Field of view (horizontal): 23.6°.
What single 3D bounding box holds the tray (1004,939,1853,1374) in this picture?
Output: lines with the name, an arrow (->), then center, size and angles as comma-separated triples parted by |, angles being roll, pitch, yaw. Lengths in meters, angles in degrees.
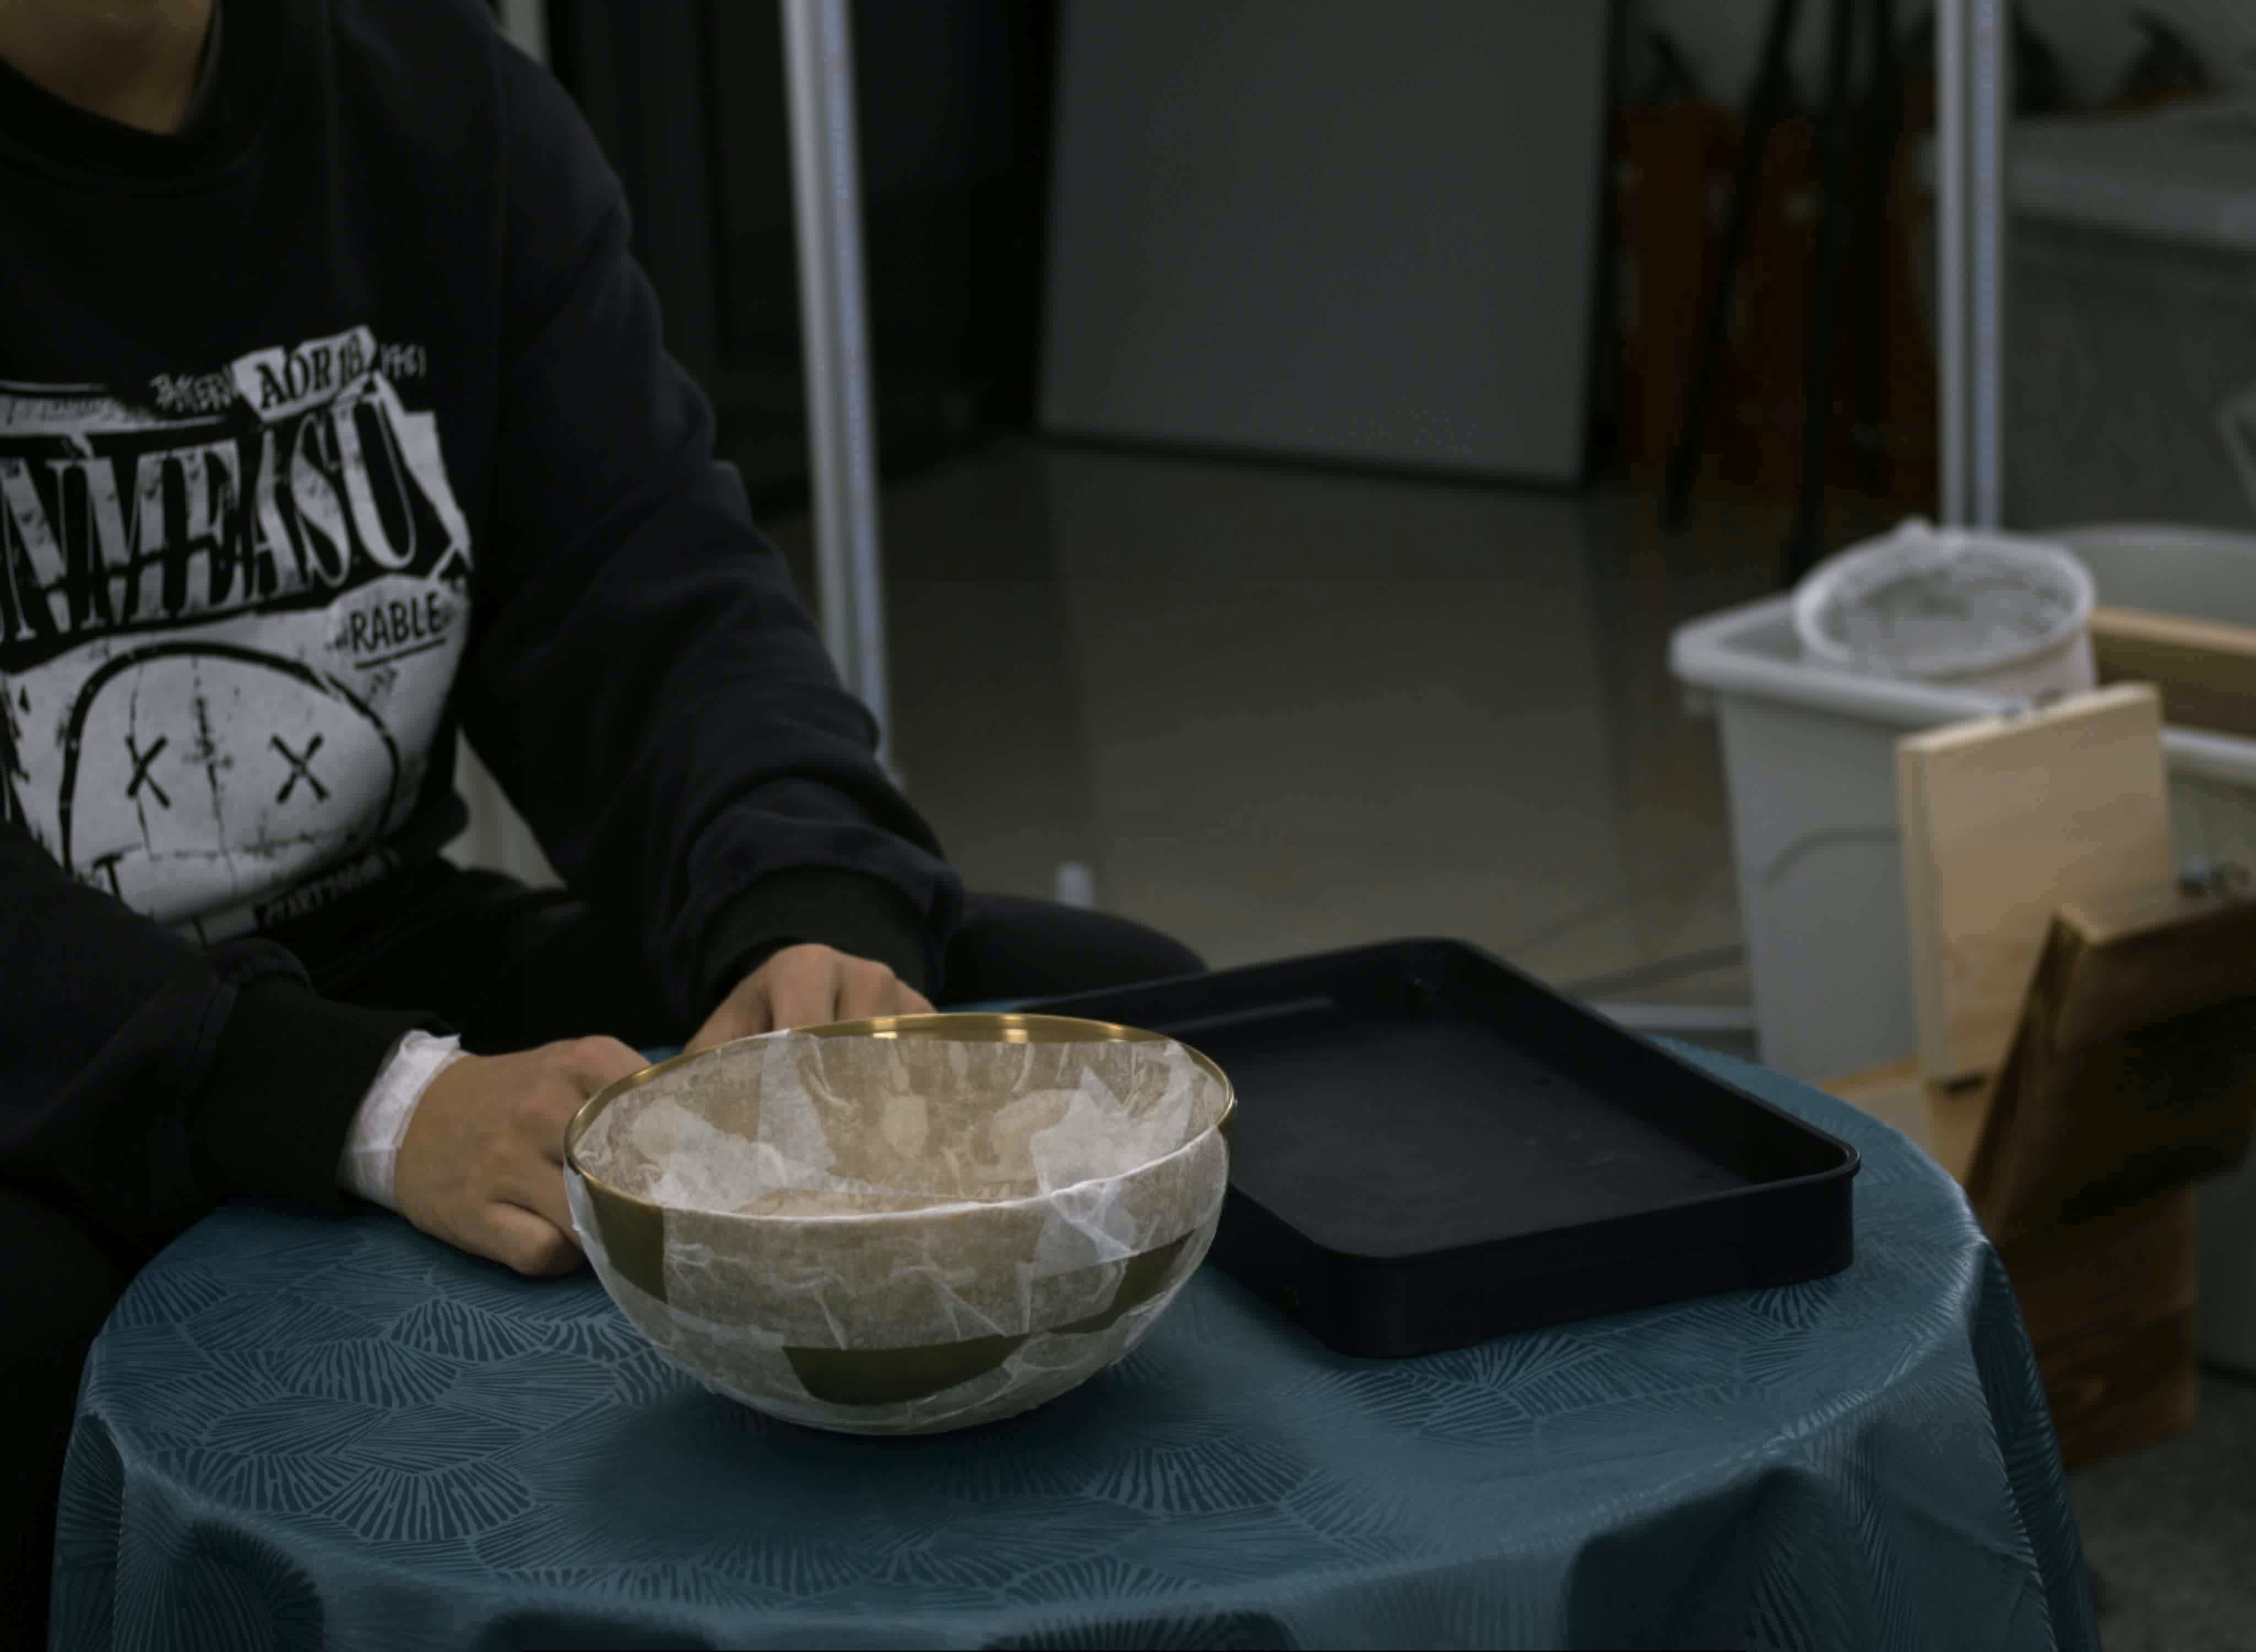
tray -> 0.090, 0.102, 1.757 | 0.180, 0.037, 0.321 | -8, 16, -18

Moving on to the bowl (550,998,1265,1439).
bowl -> -0.062, 0.123, 1.587 | 0.212, 0.095, 0.215 | -5, 14, 0
